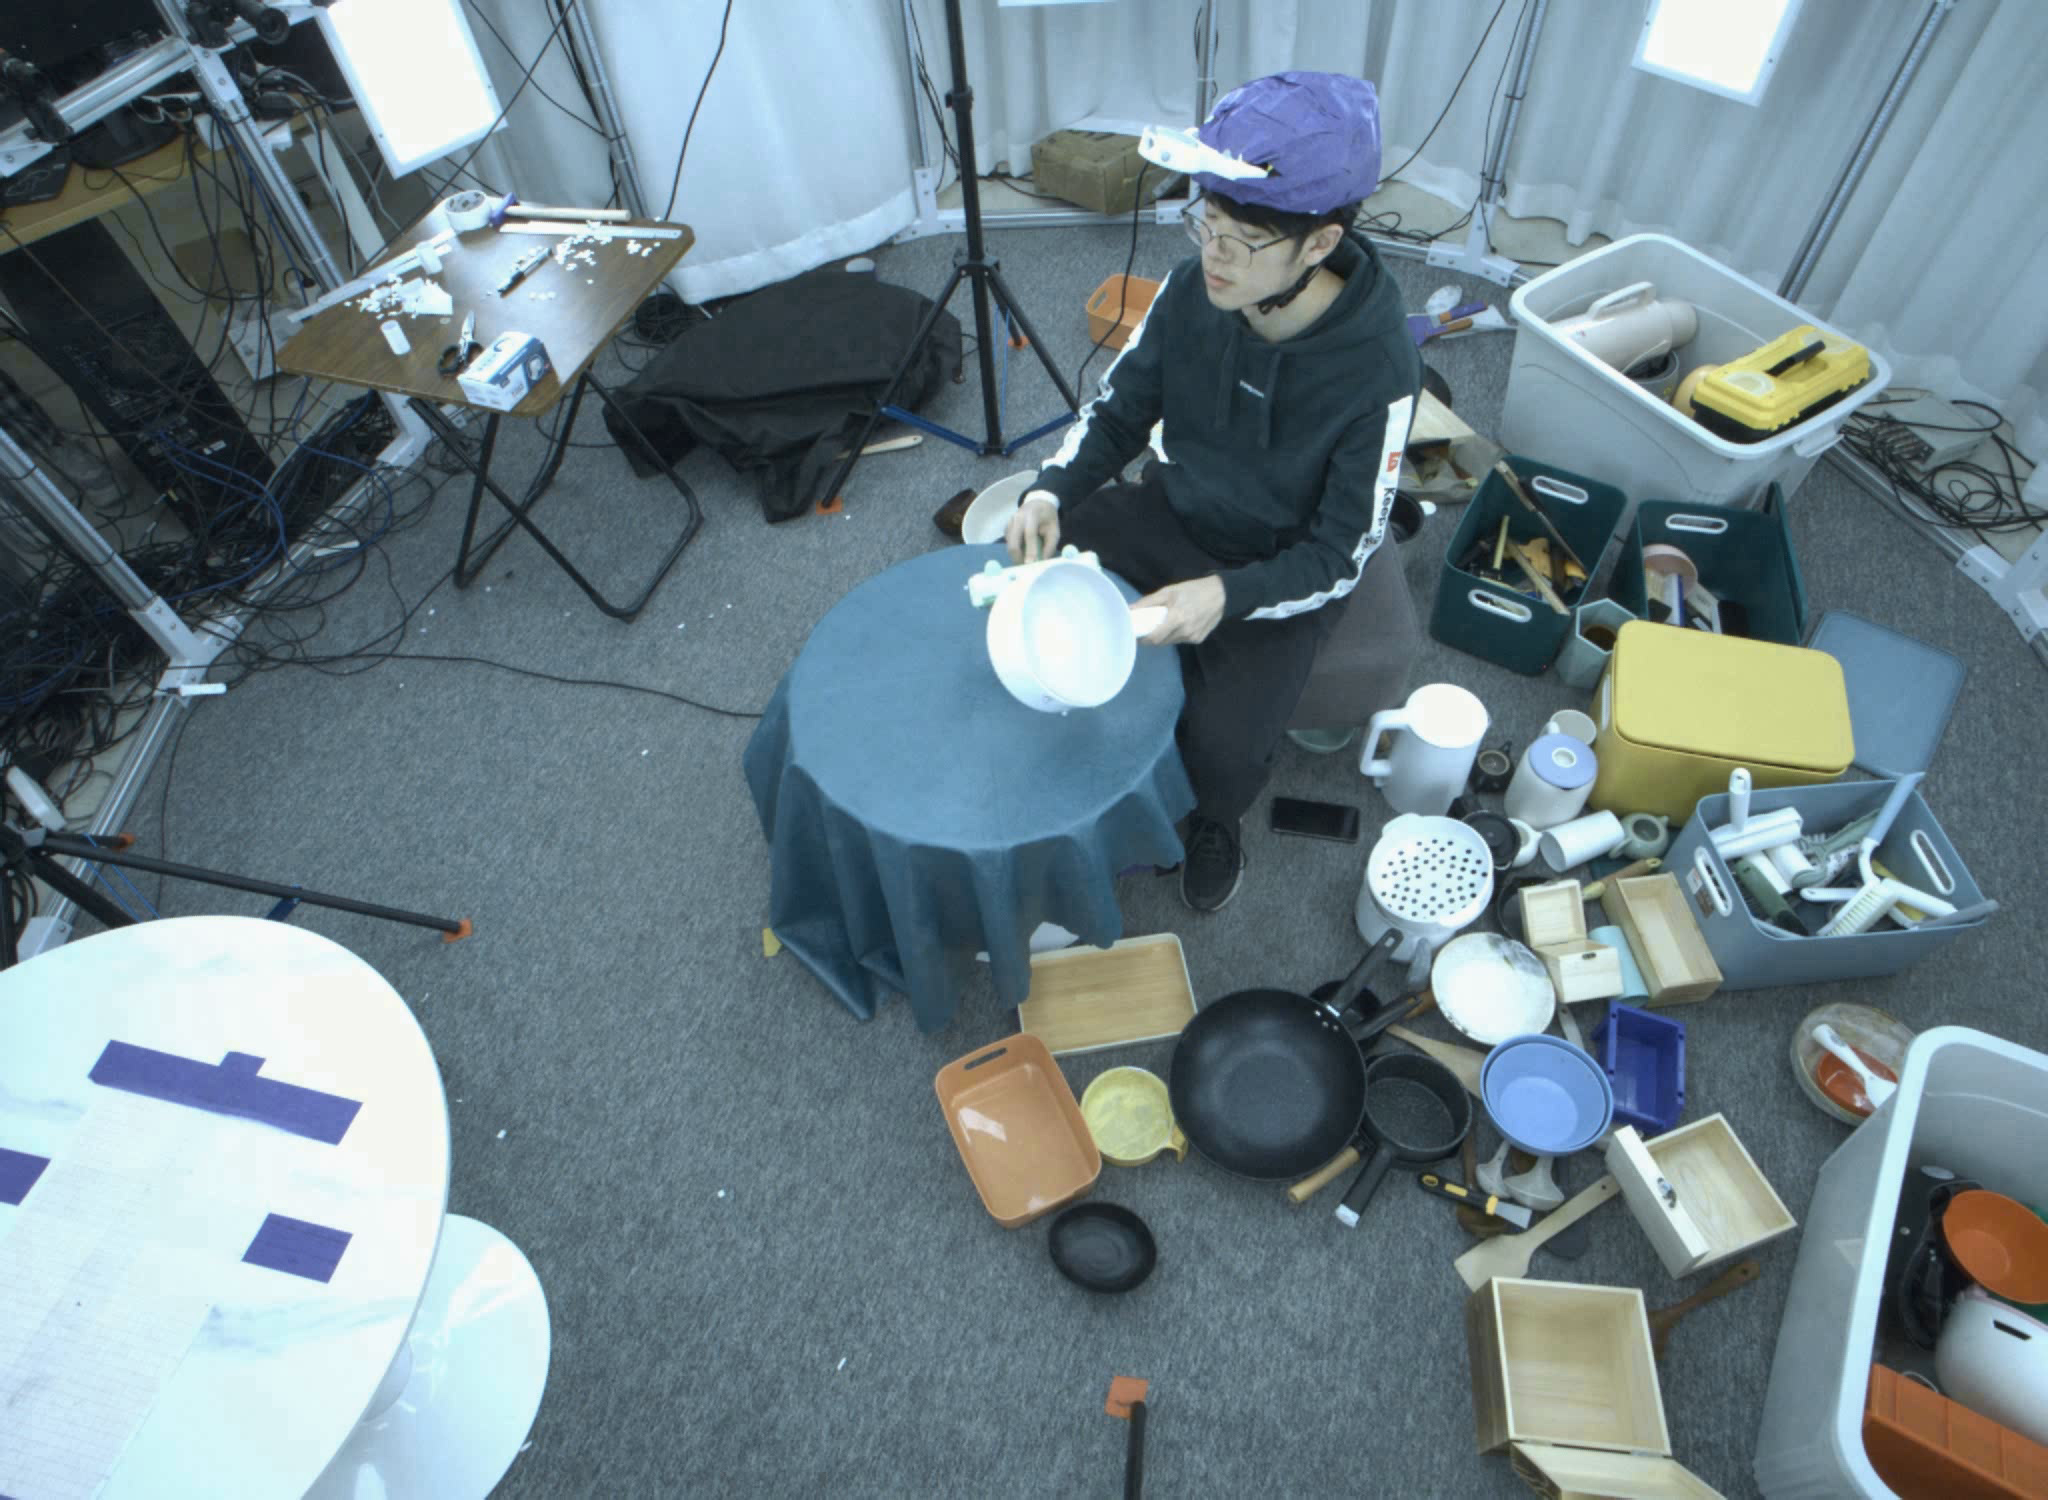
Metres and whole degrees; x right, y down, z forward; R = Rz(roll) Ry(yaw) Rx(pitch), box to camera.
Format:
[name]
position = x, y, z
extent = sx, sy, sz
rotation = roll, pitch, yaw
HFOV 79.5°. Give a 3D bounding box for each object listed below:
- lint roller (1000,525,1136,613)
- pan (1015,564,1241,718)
[lint roller]
position = 0.058, -0.292, 1.832
extent = 0.198, 0.083, 0.181
rotation = -10, 54, 4
[pan]
position = 0.146, -0.156, 1.718
extent = 0.361, 0.100, 0.201
rotation = -12, 90, -37
